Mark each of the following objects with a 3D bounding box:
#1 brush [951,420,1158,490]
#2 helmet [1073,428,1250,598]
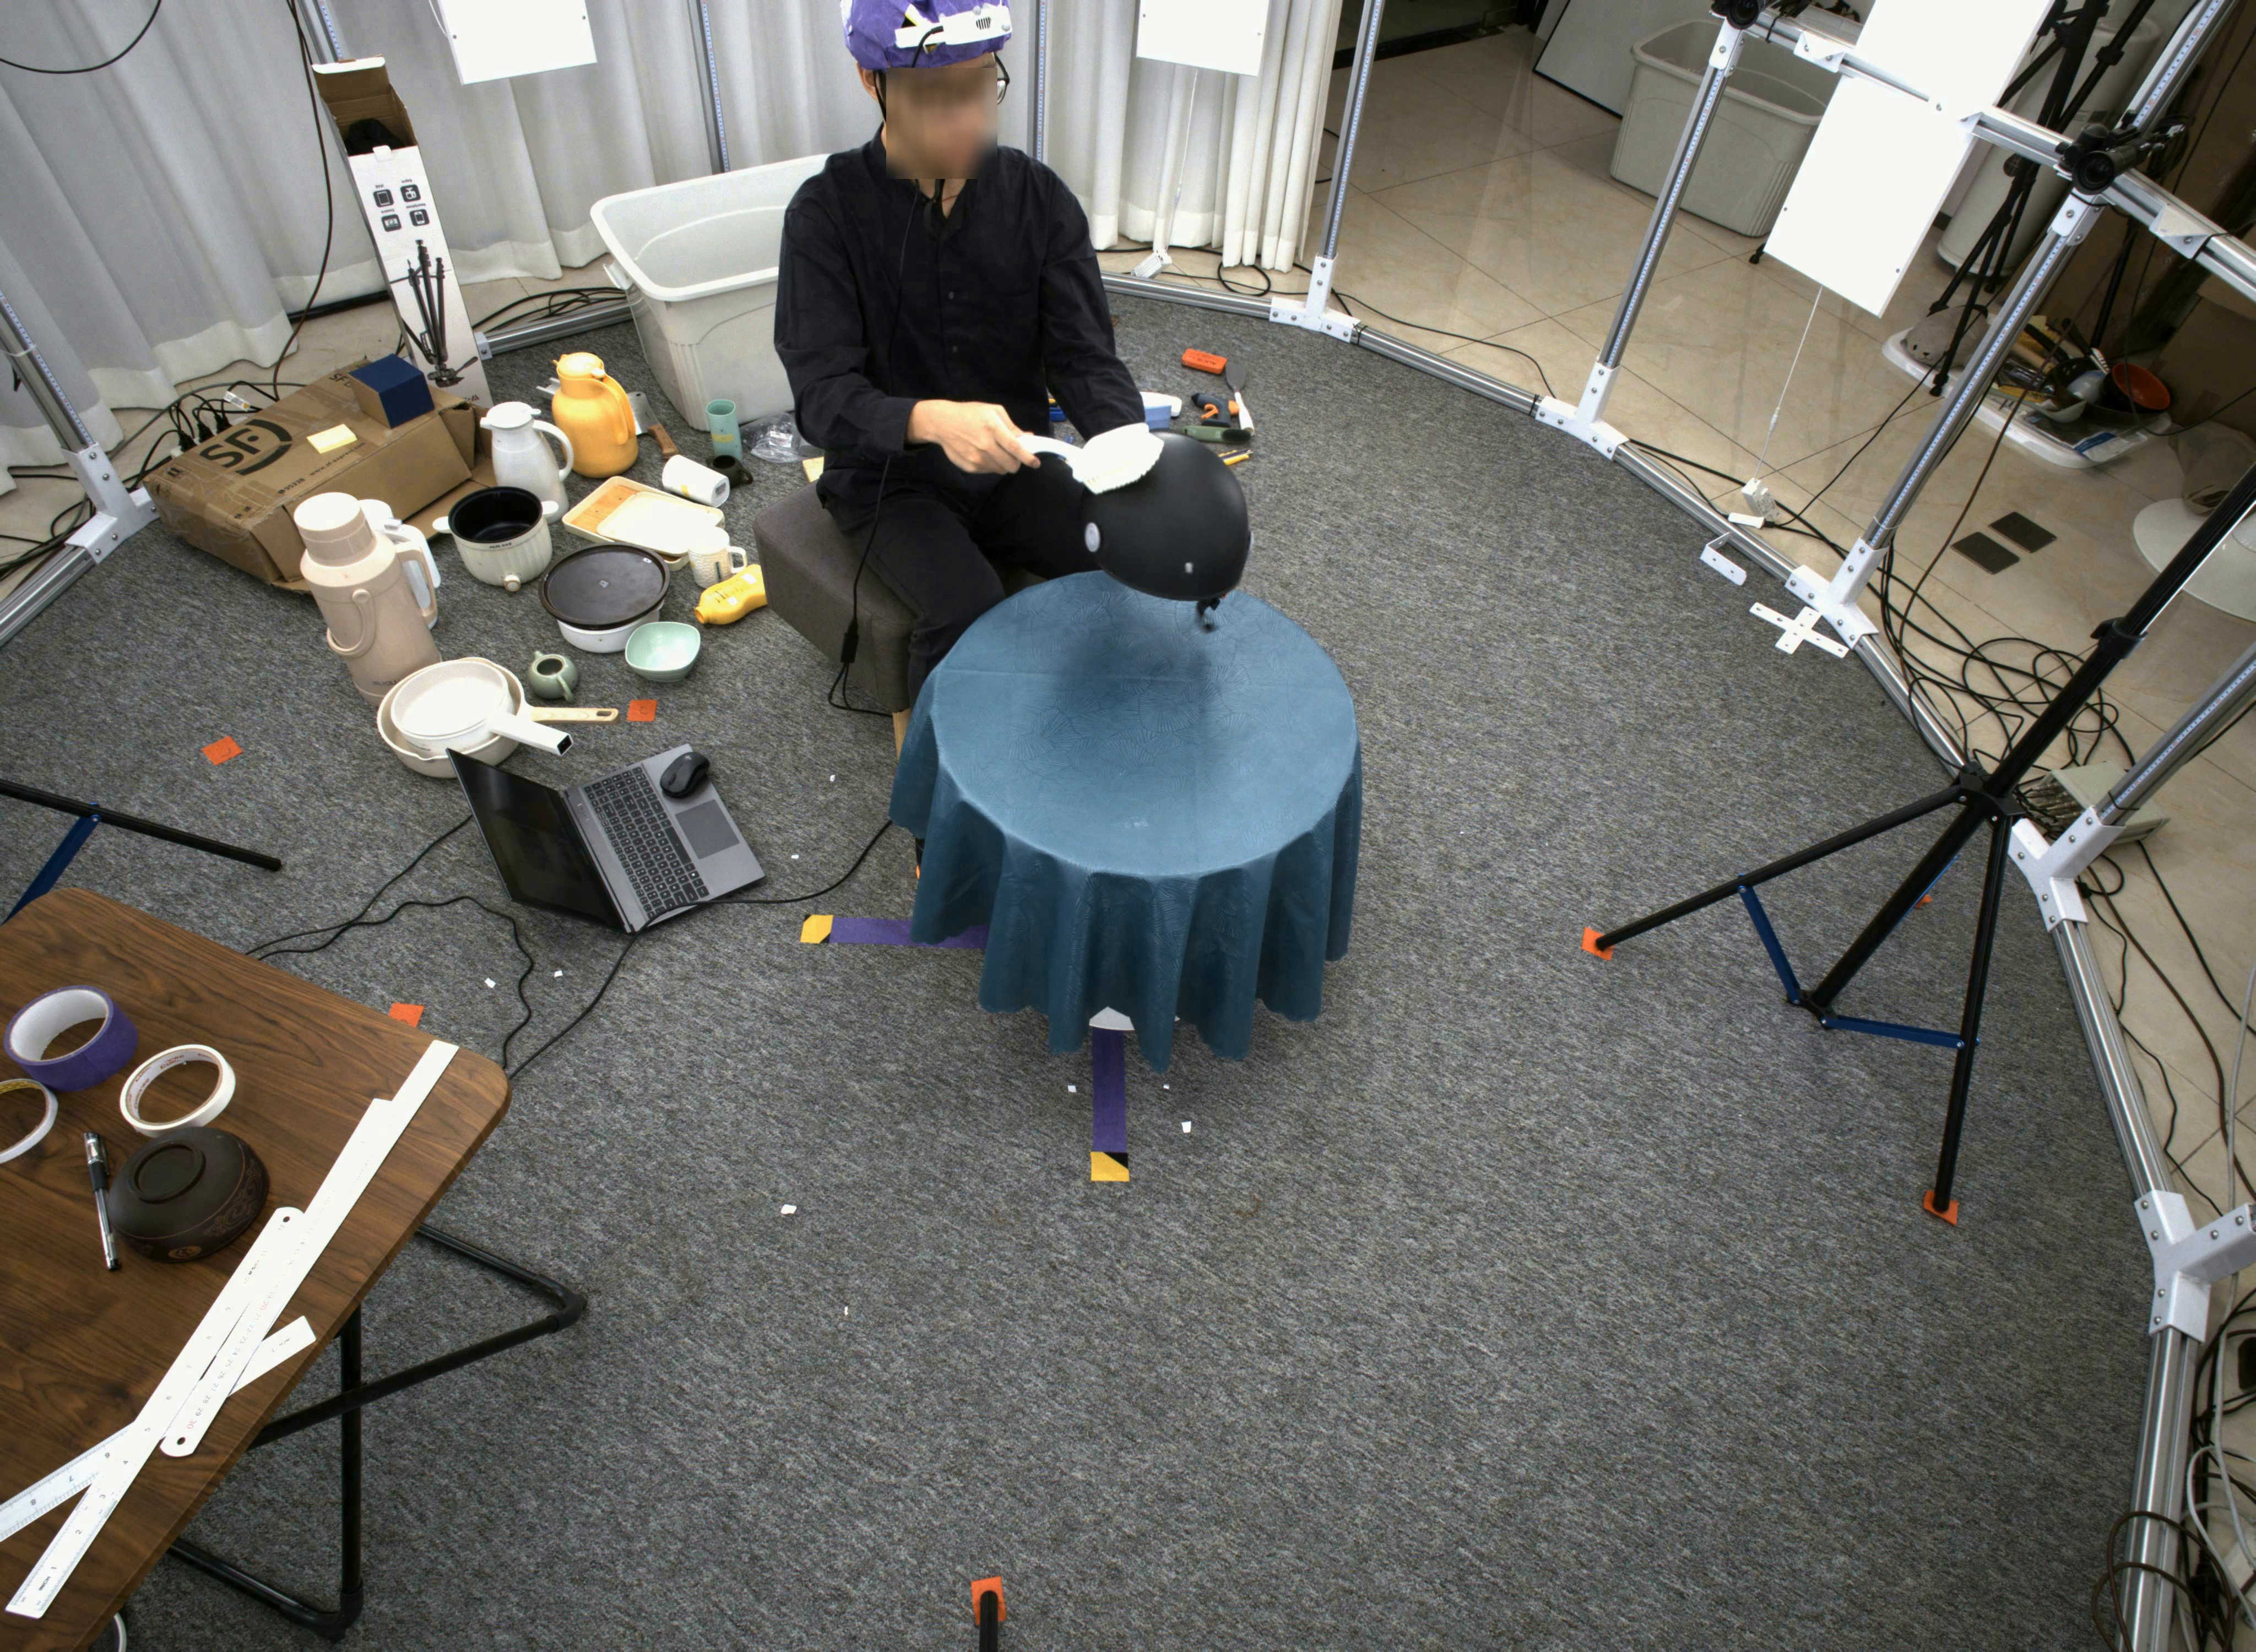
[{"bbox_3d":[-0.092,-0.477,1.678,0.327,0.083,0.084,5,26,37],"label":"brush"},{"bbox_3d":[0.050,-0.429,1.707,0.229,0.163,0.280,0,36,-14],"label":"helmet"}]
